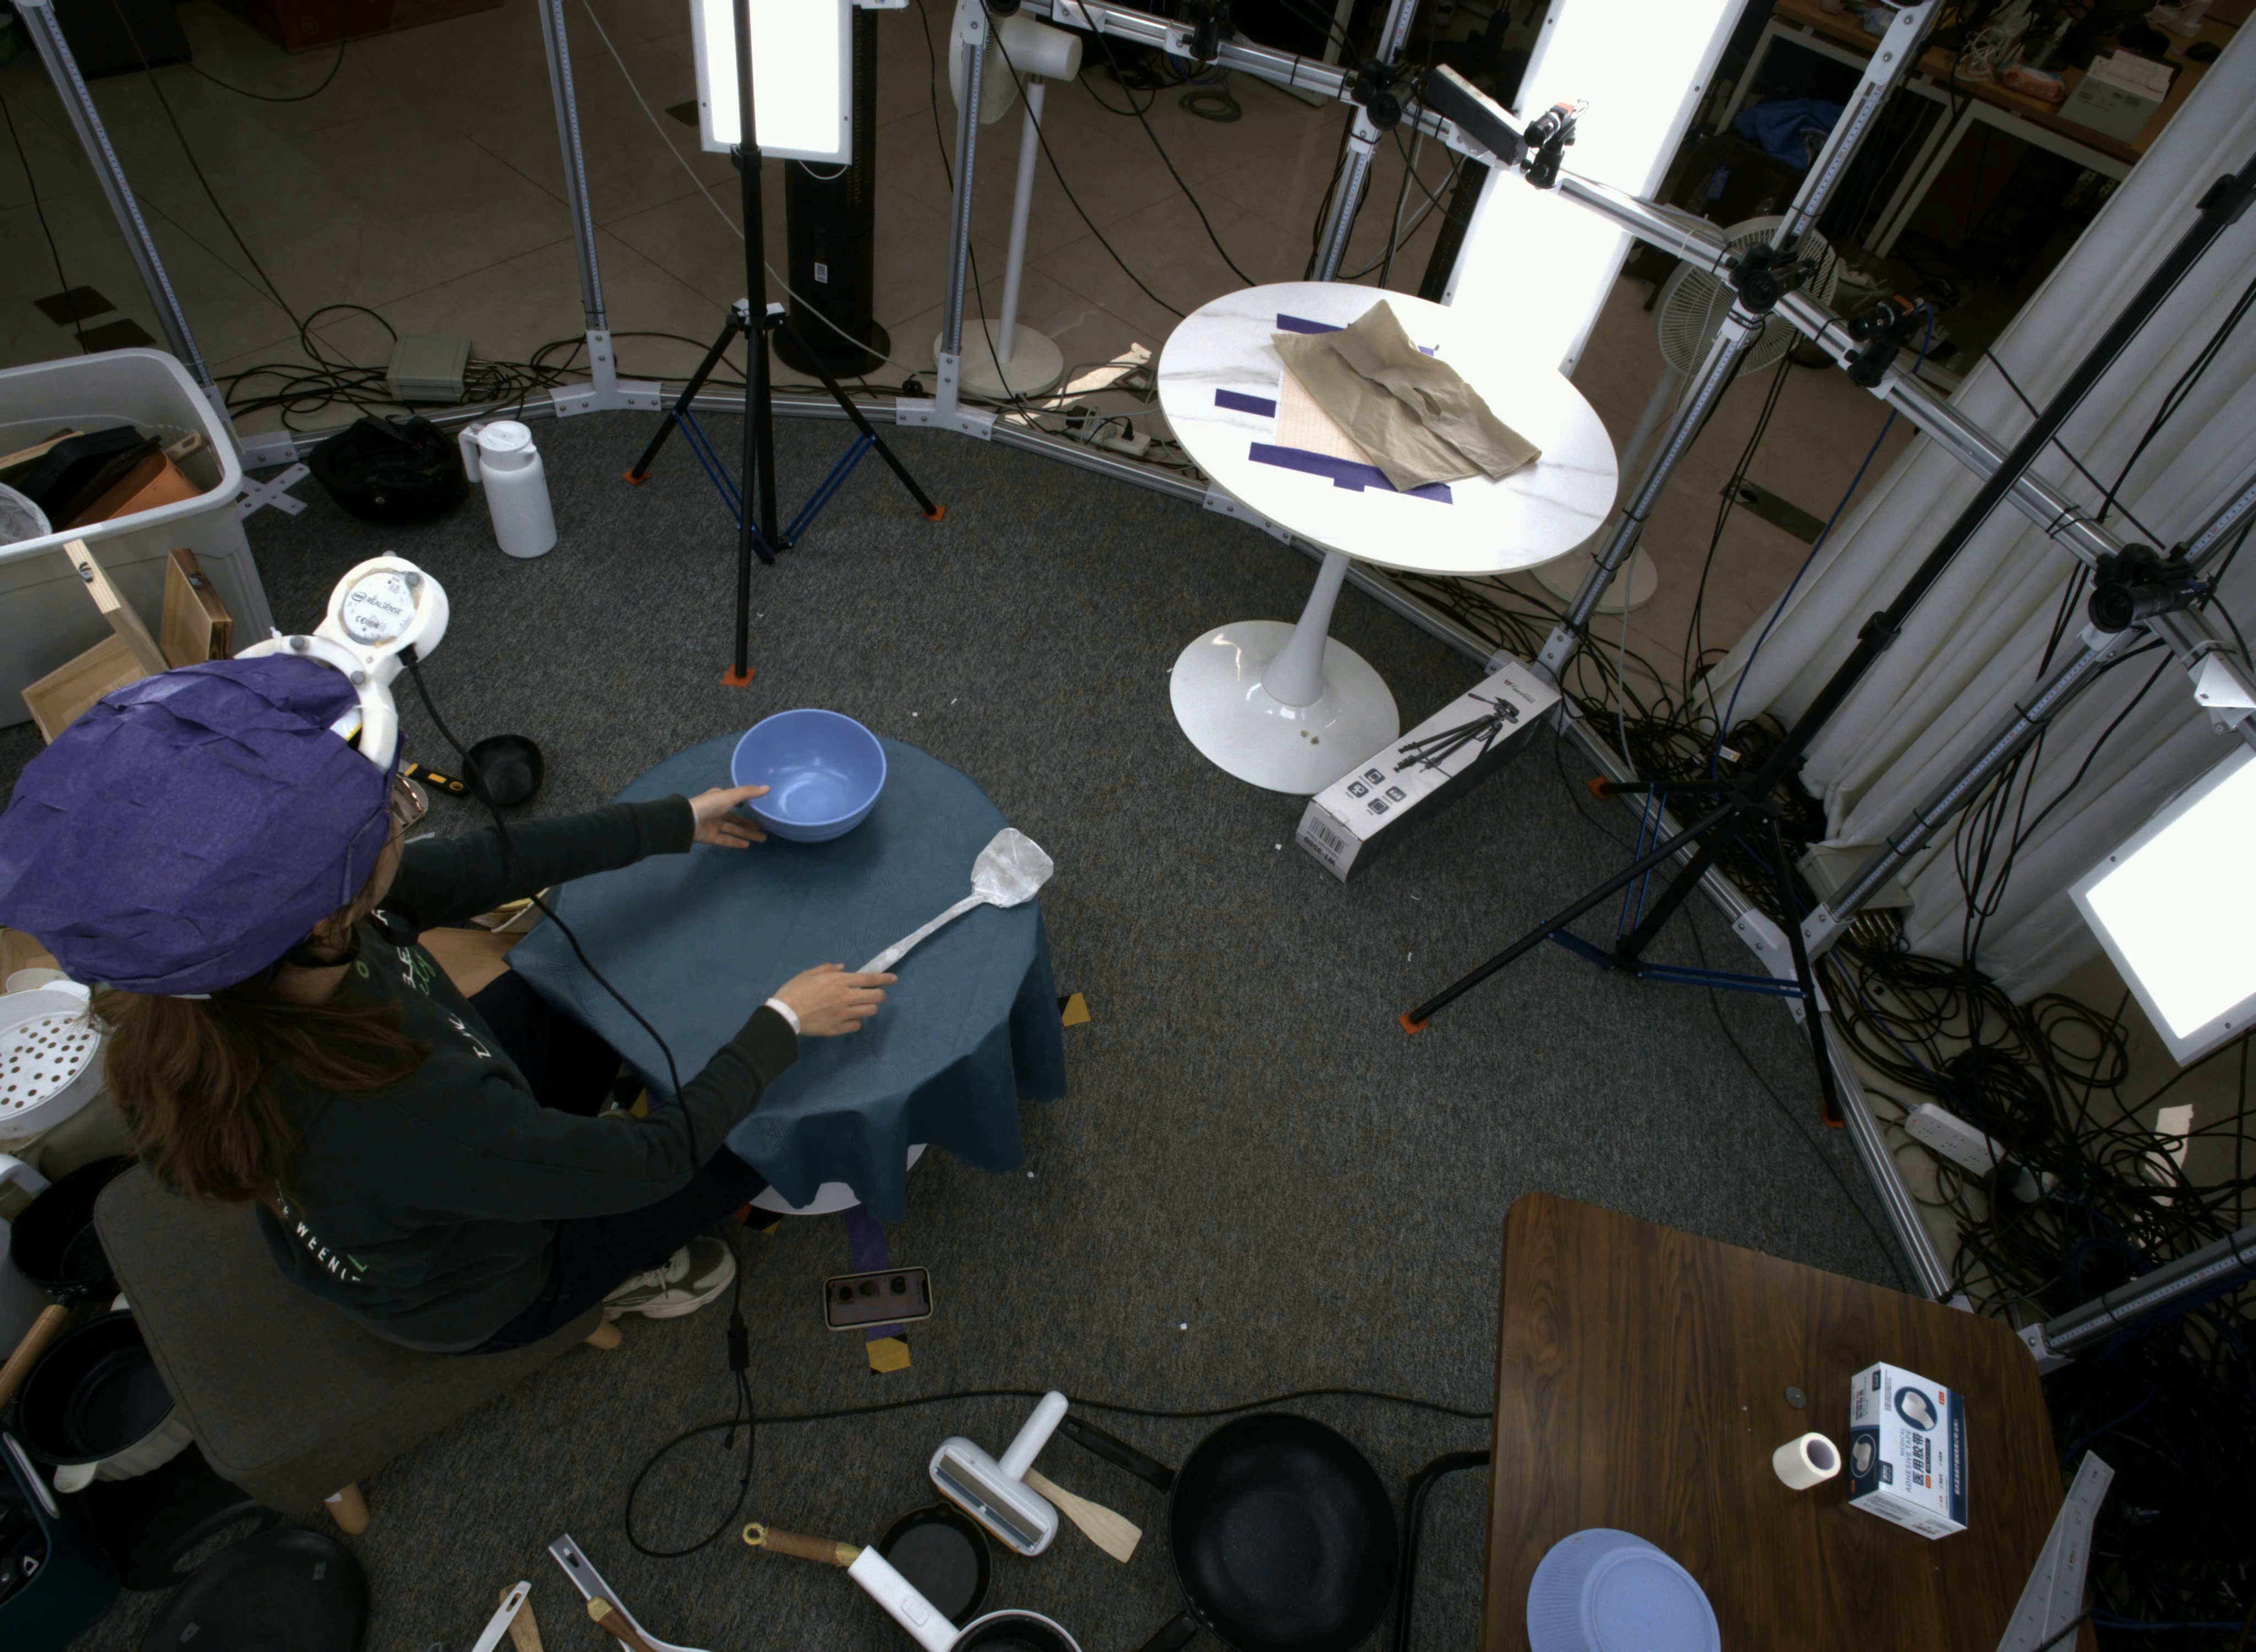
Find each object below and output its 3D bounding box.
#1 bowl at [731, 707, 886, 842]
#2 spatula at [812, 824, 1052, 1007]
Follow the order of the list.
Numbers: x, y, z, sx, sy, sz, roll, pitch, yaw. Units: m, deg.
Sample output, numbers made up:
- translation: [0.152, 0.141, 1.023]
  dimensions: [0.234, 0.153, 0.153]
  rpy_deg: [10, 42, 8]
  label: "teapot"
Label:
- translation: [-0.420, -0.052, 1.708]
  dimensions: [0.196, 0.097, 0.193]
  rpy_deg: [8, 51, -9]
  label: "bowl"
- translation: [-0.251, 0.120, 1.660]
  dimensions: [0.097, 0.045, 0.366]
  rpy_deg: [43, 55, 16]
  label: "spatula"
